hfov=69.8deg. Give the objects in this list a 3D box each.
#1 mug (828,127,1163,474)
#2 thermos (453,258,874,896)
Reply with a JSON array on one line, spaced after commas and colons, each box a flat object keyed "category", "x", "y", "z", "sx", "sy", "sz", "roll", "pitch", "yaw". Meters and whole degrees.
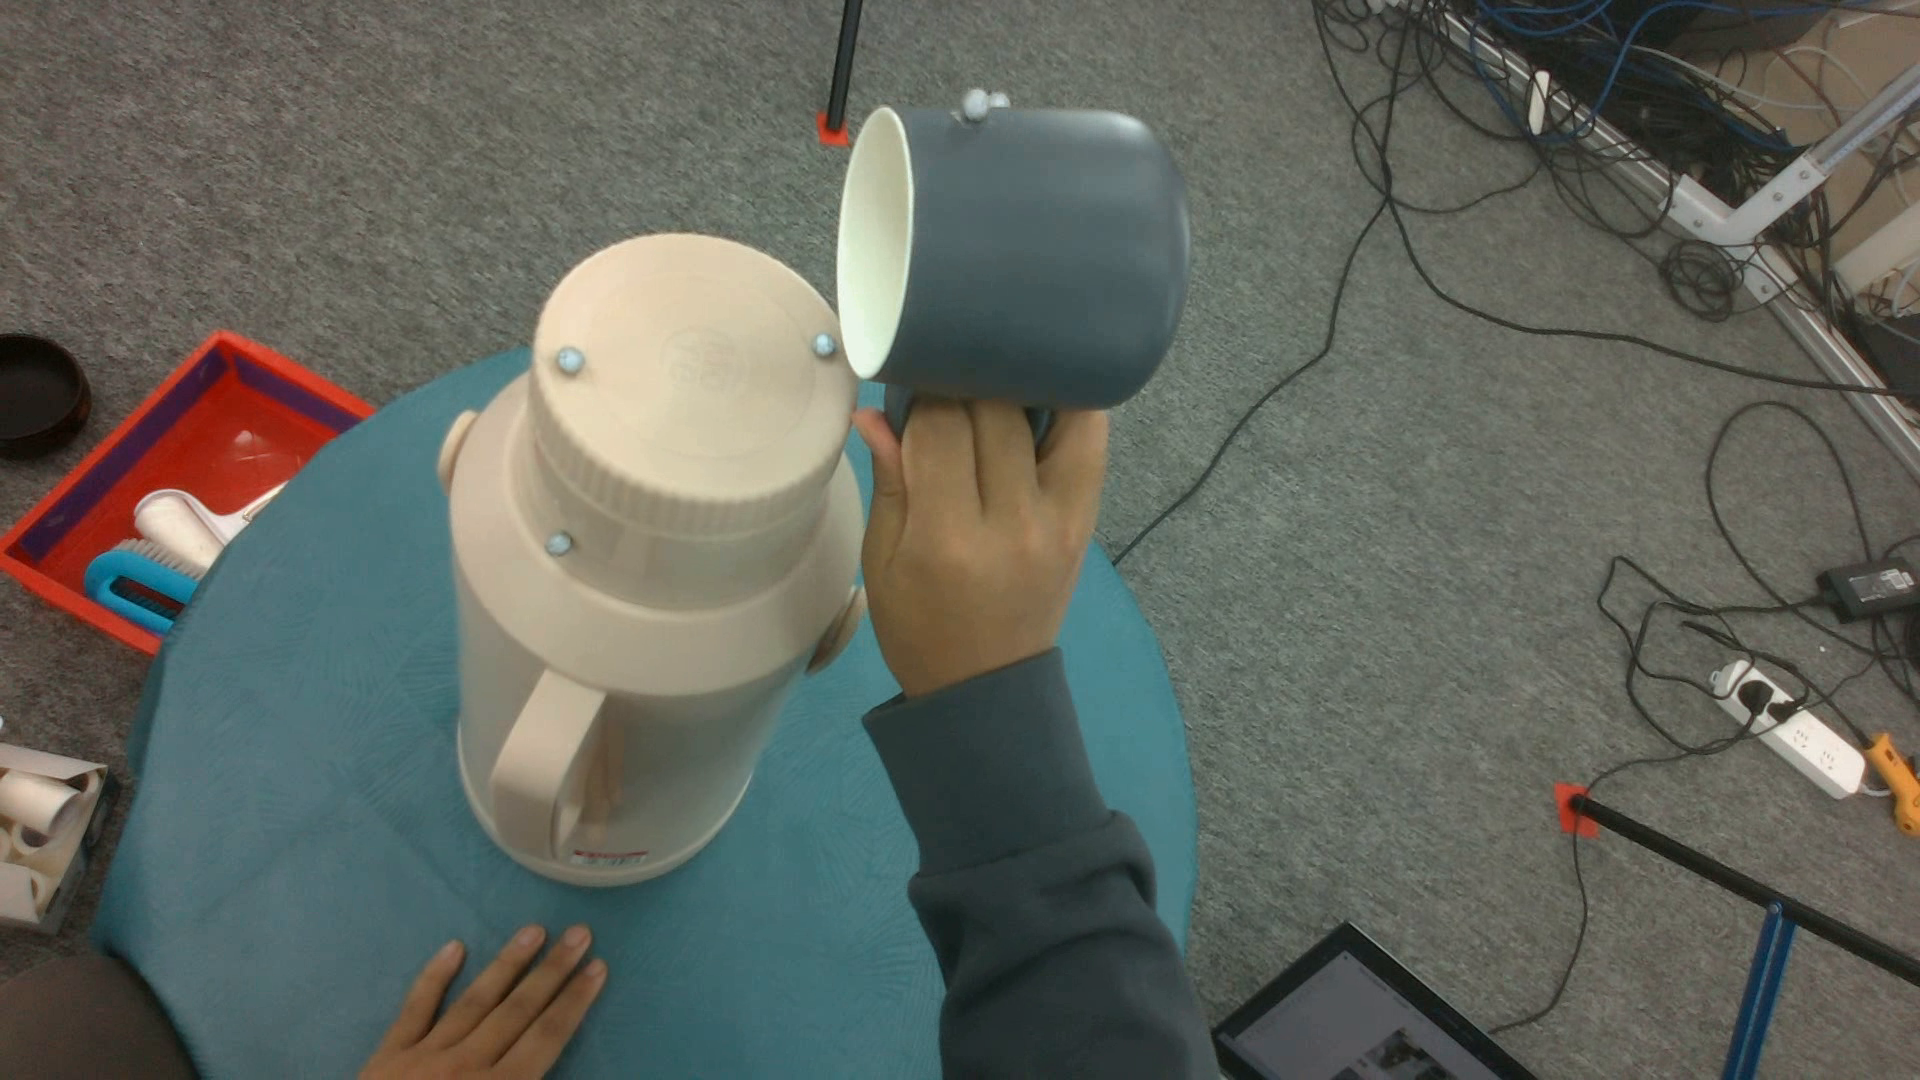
[{"category": "mug", "x": 0.007, "y": -0.074, "z": 0.452, "sx": 0.090, "sy": 0.122, "sz": 0.094, "roll": -1, "pitch": 39, "yaw": -18}, {"category": "thermos", "x": -0.146, "y": 0.049, "z": 0.624, "sx": 0.175, "sy": 0.404, "sz": 0.208, "roll": 22, "pitch": 58, "yaw": -6}]
